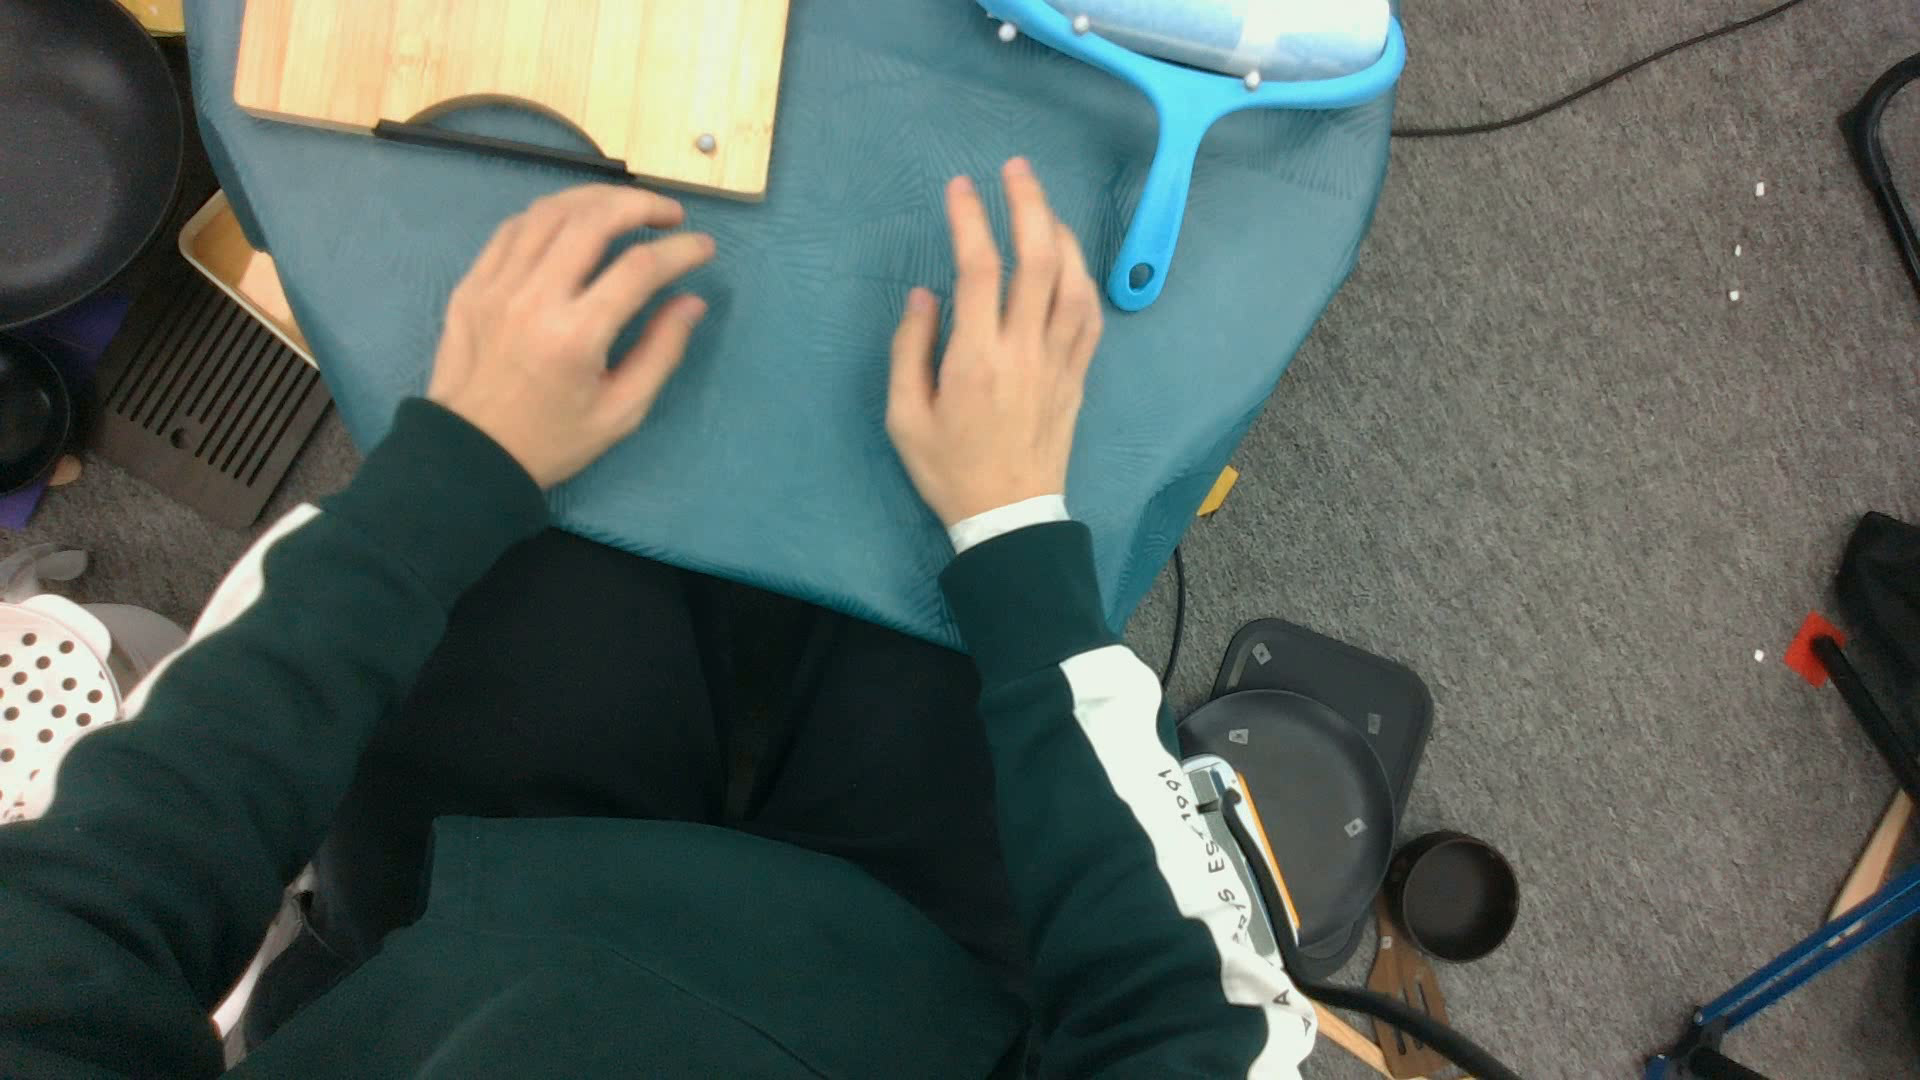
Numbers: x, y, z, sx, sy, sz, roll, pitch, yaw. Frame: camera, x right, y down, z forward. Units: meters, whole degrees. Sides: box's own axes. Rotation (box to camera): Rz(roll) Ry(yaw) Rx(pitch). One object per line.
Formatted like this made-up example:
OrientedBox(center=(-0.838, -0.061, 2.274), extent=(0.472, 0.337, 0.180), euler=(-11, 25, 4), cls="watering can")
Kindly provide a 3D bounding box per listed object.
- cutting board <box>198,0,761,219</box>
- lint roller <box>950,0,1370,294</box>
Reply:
OrientedBox(center=(-0.210, -0.340, 0.658), extent=(0.251, 0.023, 0.348), euler=(5, 88, -10), cls="cutting board")
OrientedBox(center=(0.093, -0.217, 0.690), extent=(0.229, 0.068, 0.180), euler=(5, 87, -12), cls="lint roller")
